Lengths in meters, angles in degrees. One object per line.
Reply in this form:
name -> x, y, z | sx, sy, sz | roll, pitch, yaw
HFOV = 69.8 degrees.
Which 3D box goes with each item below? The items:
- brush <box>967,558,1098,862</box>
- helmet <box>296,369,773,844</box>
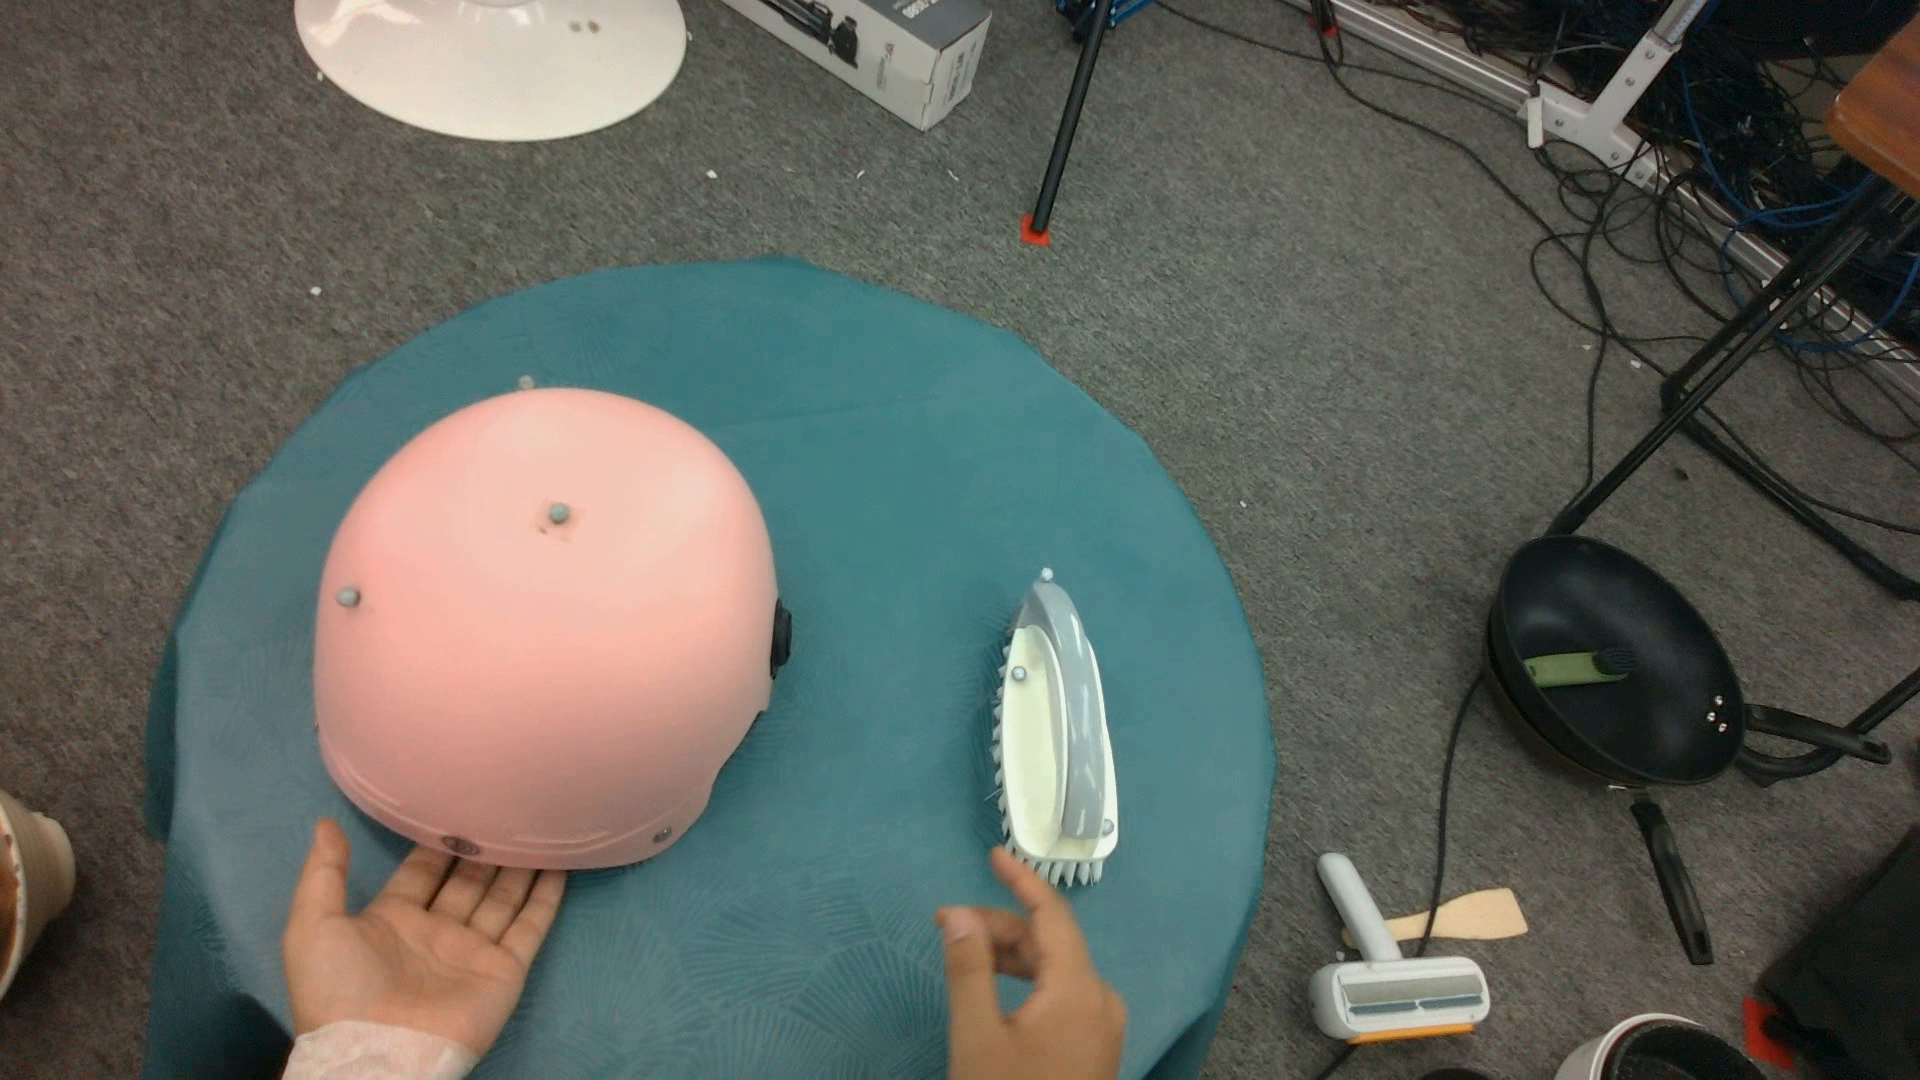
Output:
brush -> 0.041, 0.076, 0.746 | 0.061, 0.093, 0.176 | 4, 54, -15
helmet -> -0.205, 0.006, 0.683 | 0.234, 0.158, 0.267 | 17, 50, -5
